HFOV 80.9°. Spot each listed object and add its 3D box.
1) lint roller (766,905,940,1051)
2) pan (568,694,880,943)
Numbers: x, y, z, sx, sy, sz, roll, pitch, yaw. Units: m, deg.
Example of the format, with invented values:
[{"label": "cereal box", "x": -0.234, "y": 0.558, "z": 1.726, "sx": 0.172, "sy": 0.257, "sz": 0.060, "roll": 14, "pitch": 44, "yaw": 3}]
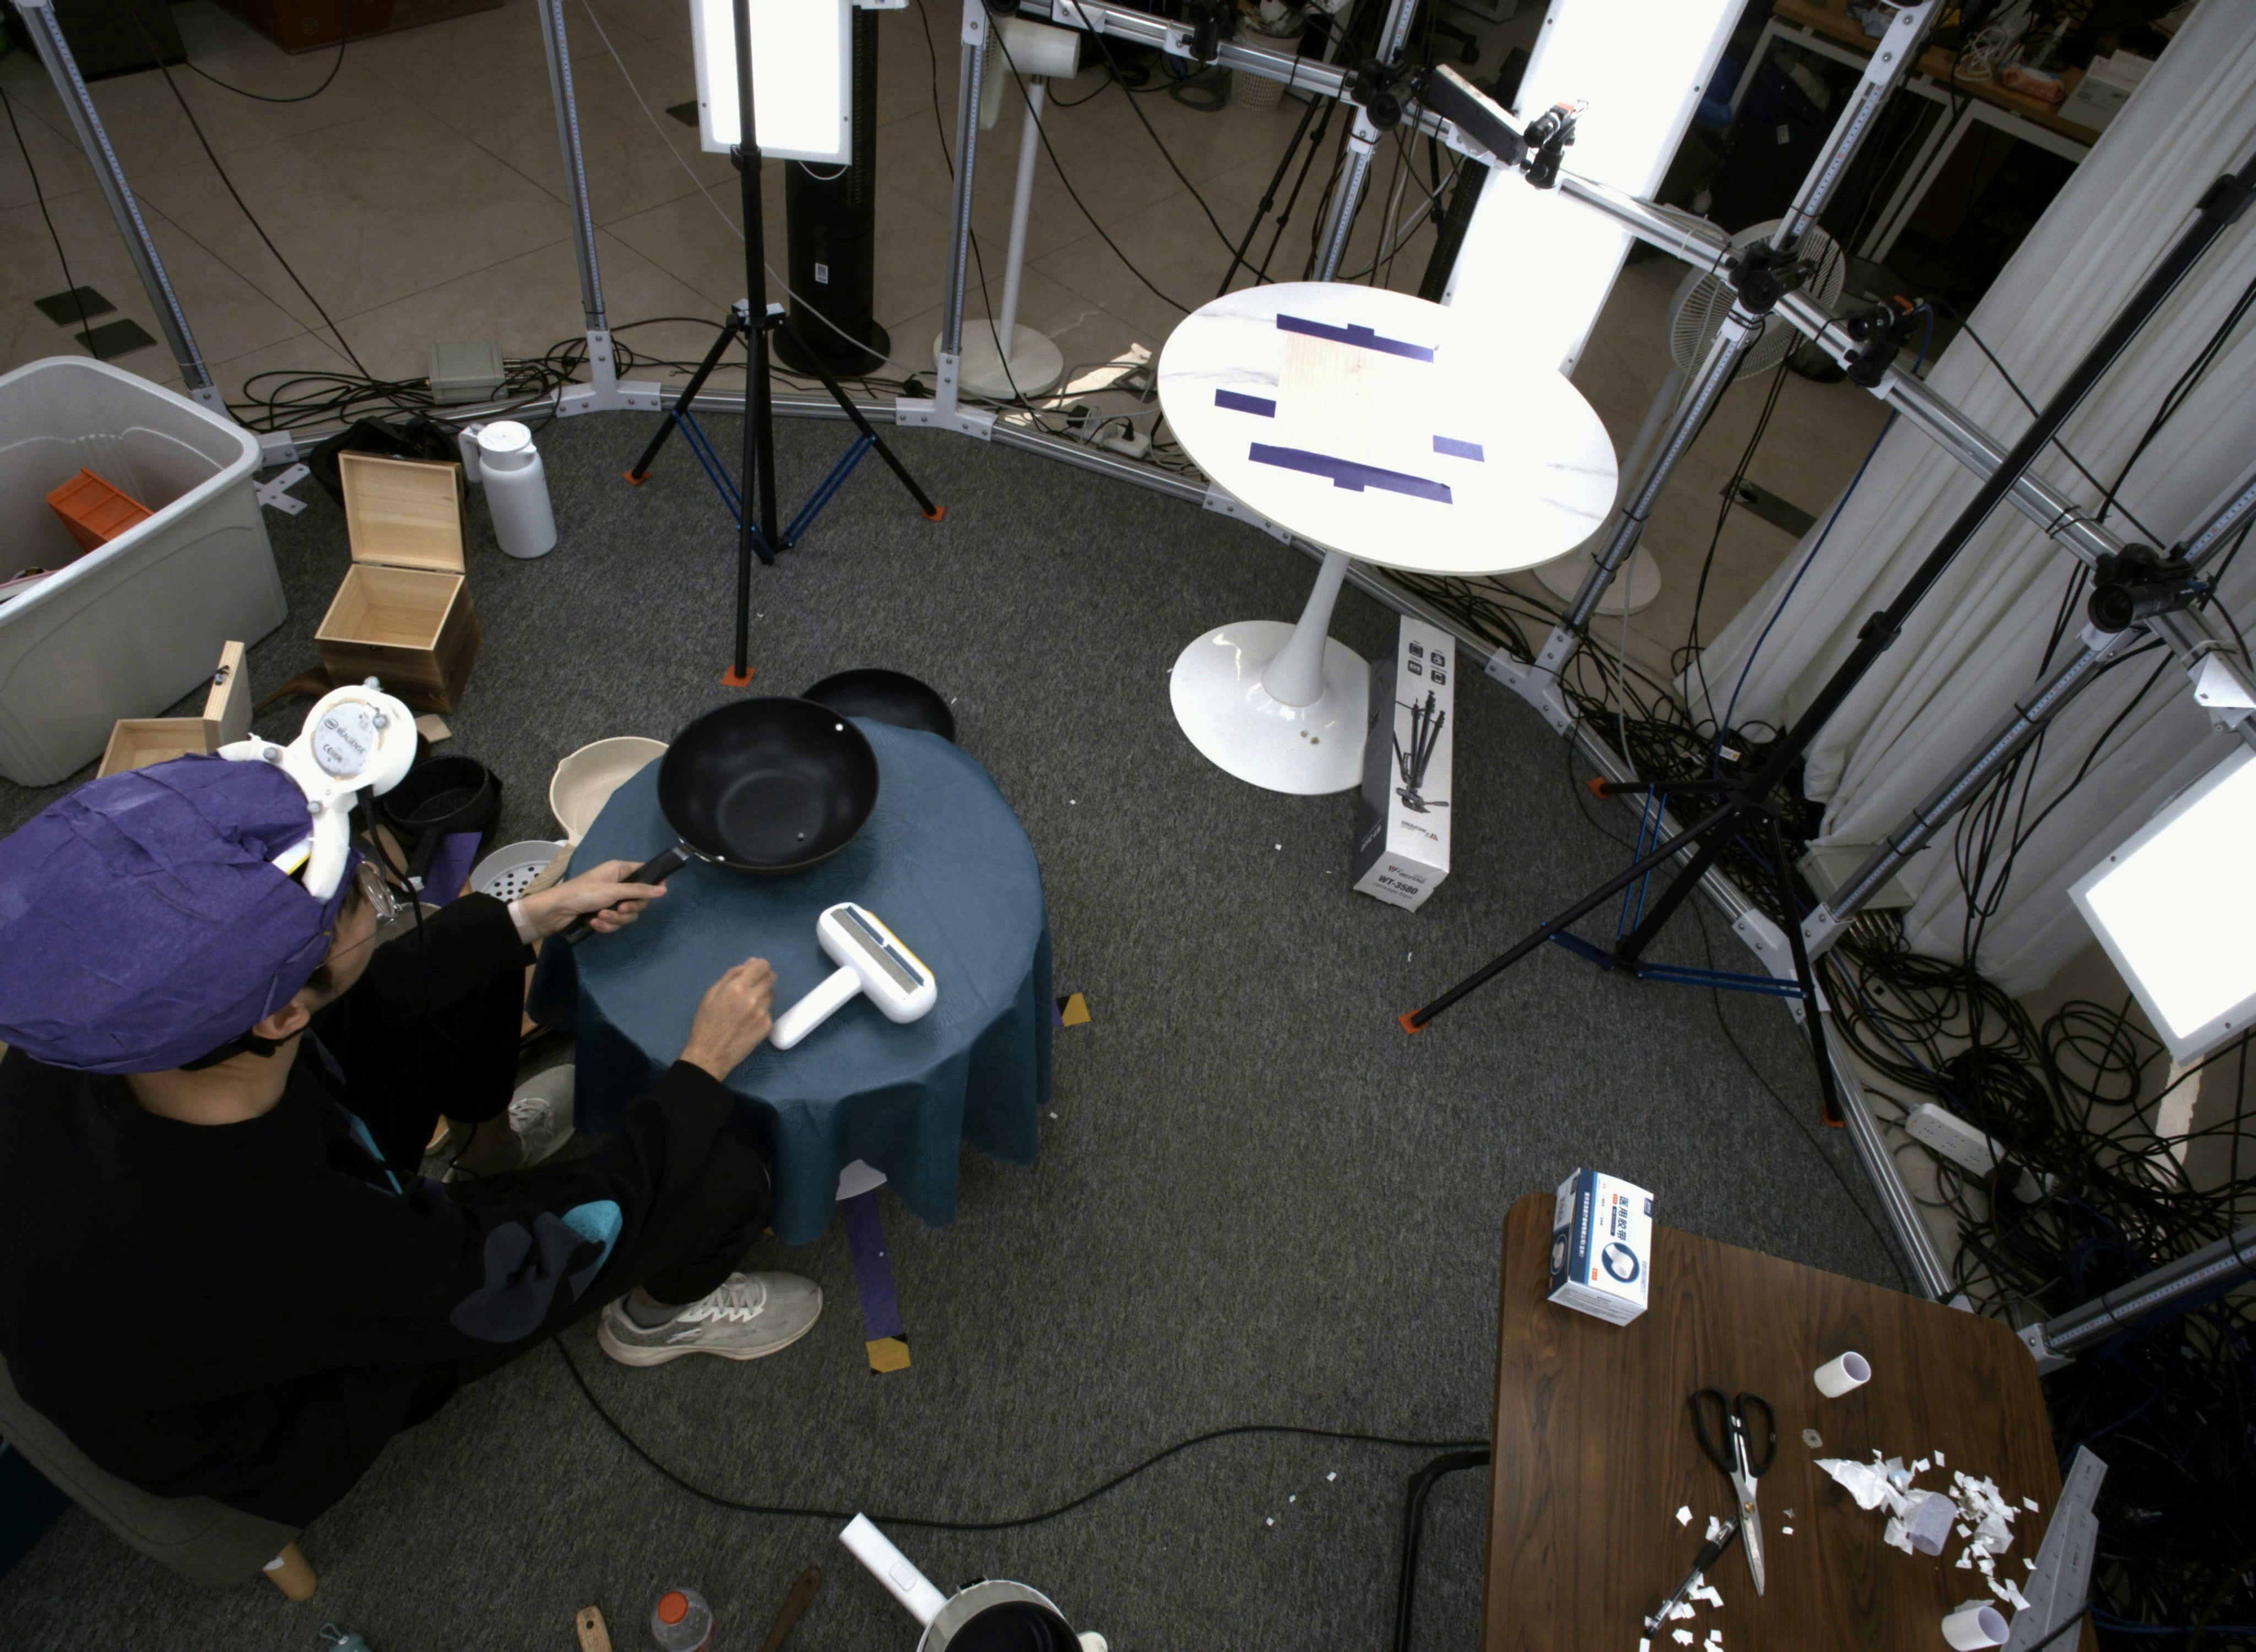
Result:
[{"label": "lint roller", "x": -0.349, "y": 0.197, "z": 1.560, "sx": 0.193, "sy": 0.076, "sz": 0.187, "roll": -29, "pitch": 60, "yaw": -29}, {"label": "pan", "x": -0.519, "y": 0.015, "z": 1.642, "sx": 0.282, "sy": 0.088, "sz": 0.463, "roll": 36, "pitch": 57, "yaw": 14}]
